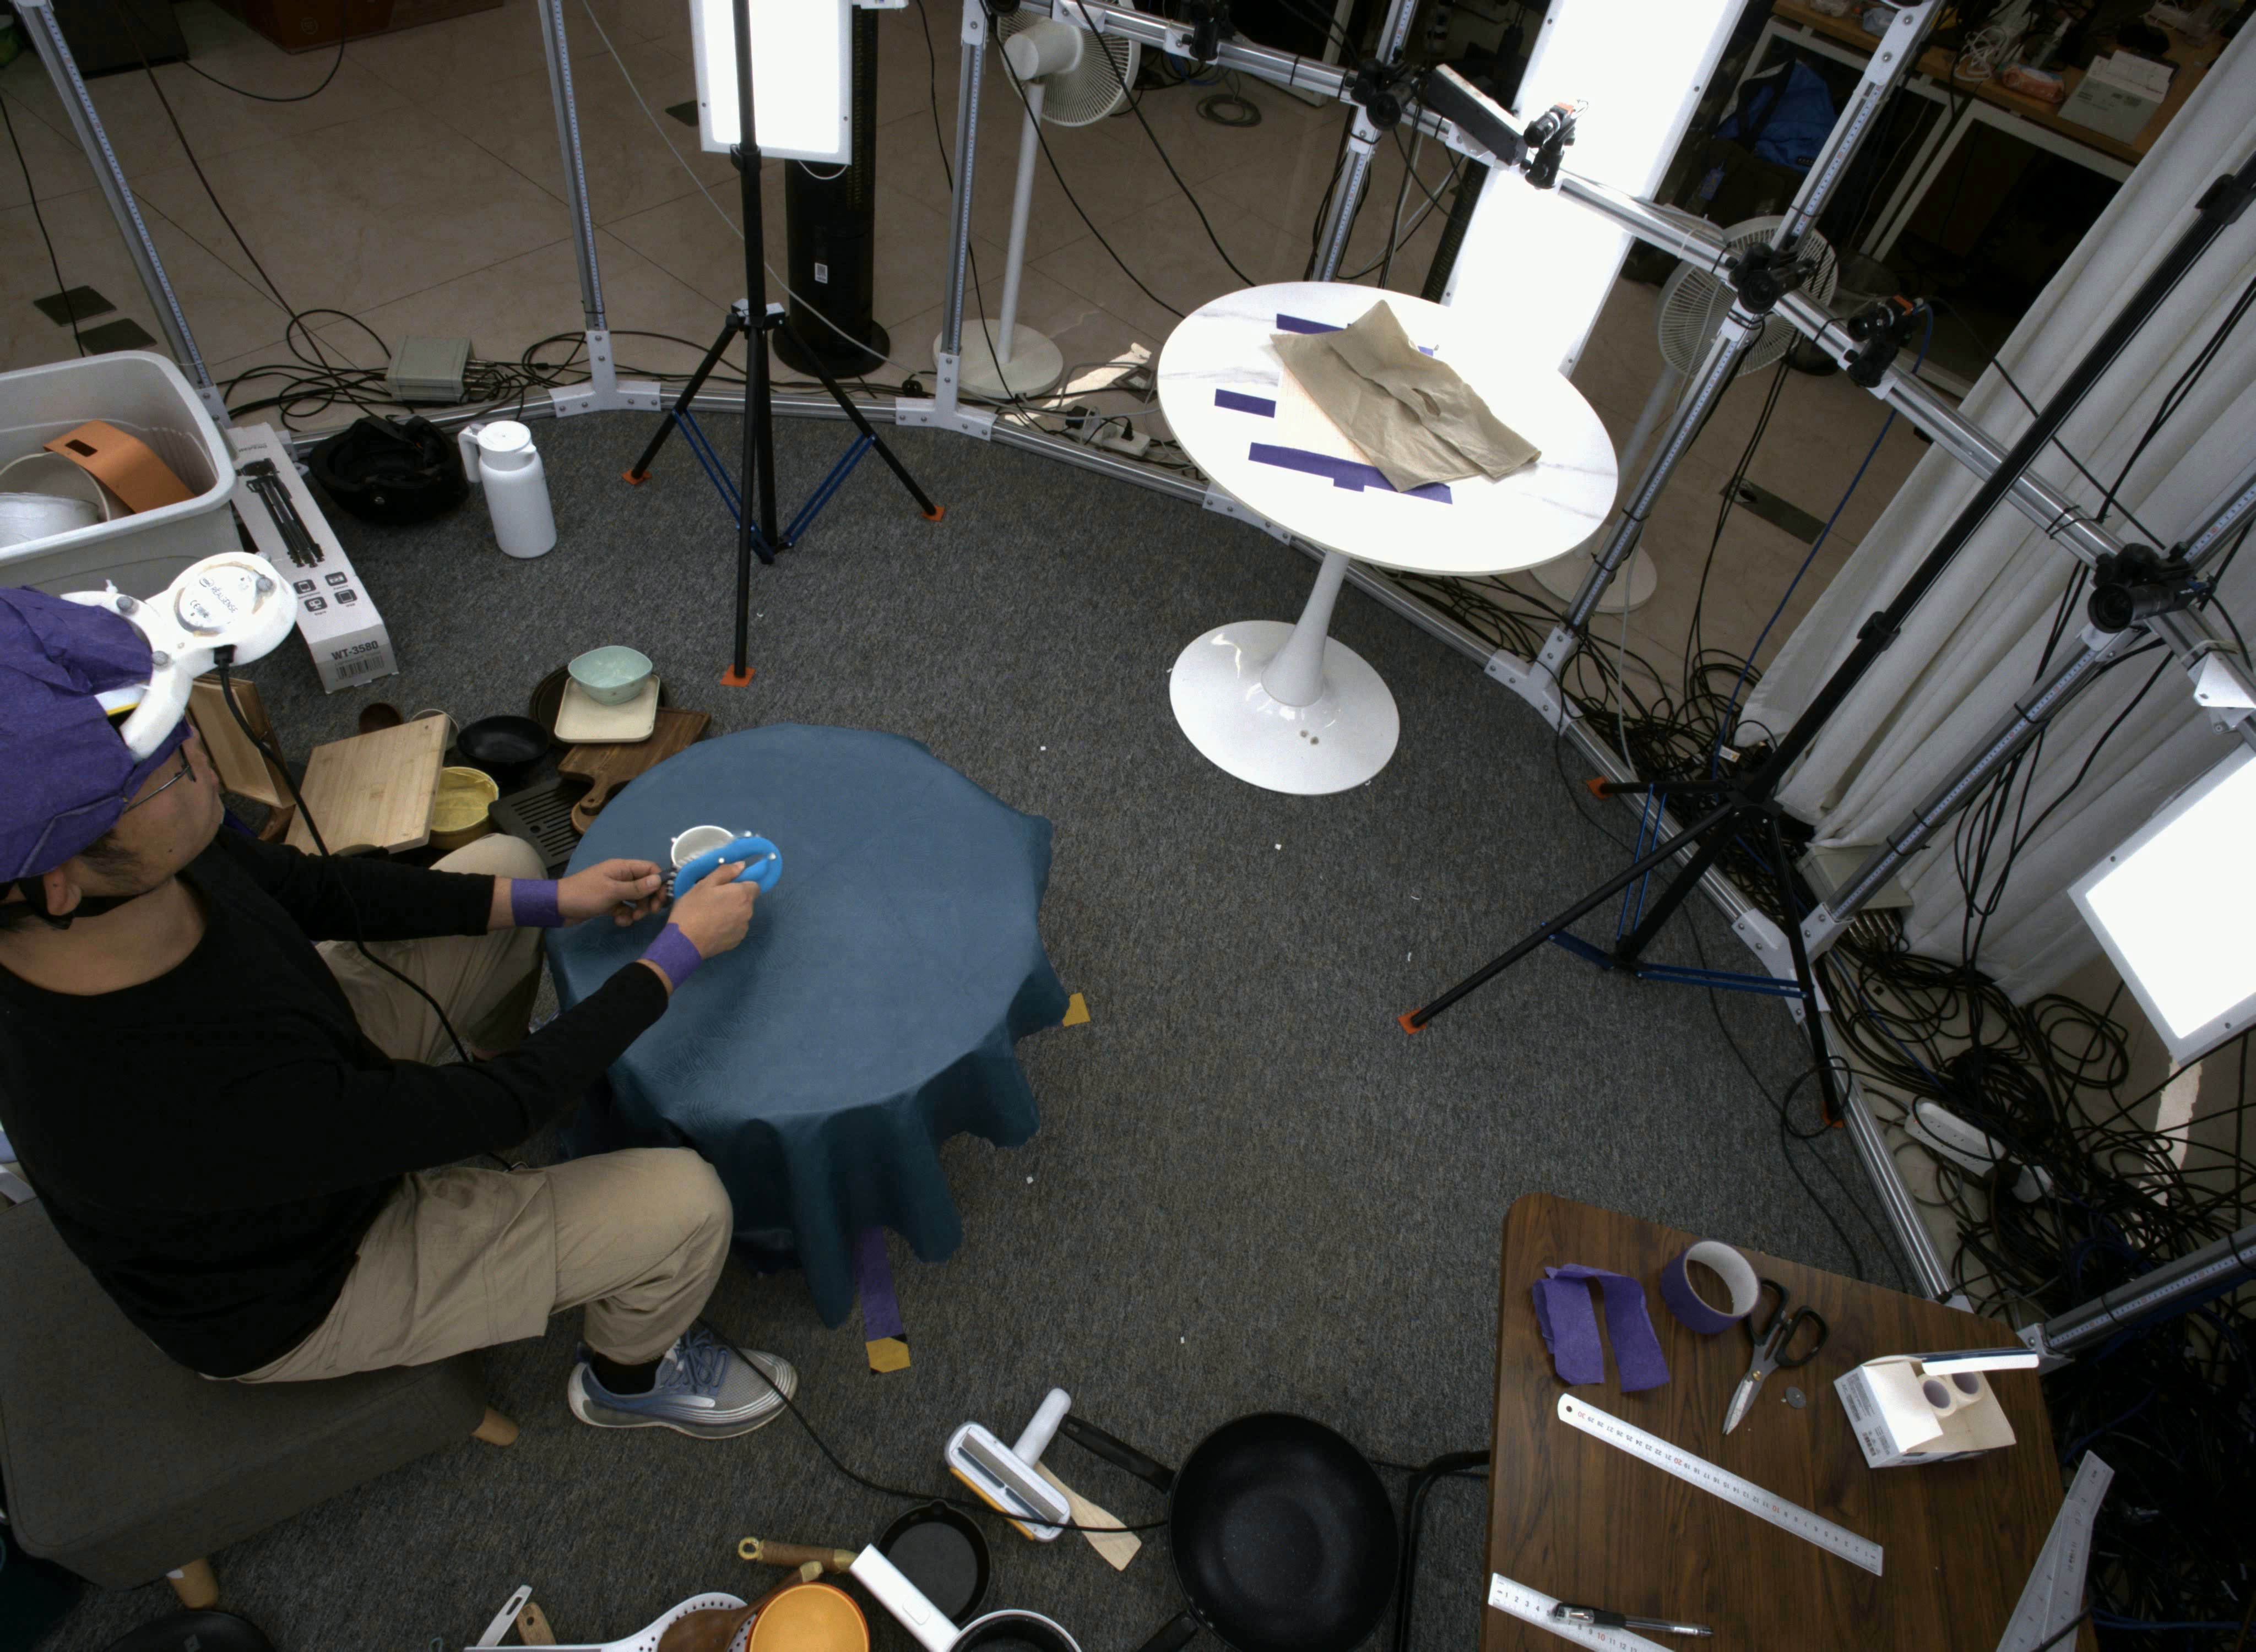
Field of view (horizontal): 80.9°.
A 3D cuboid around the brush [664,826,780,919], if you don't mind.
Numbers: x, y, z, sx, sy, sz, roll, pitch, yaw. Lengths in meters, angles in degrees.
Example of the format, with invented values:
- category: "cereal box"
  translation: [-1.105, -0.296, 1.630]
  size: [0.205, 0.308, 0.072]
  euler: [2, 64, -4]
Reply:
- category: "brush"
  translation: [-0.480, 0.057, 1.548]
  size: [0.142, 0.087, 0.061]
  euler: [-25, 26, -30]

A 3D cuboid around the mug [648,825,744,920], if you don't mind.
- category: "mug"
  translation: [-0.534, 0.060, 1.594]
  size: [0.124, 0.092, 0.091]
  euler: [-22, 60, -29]
